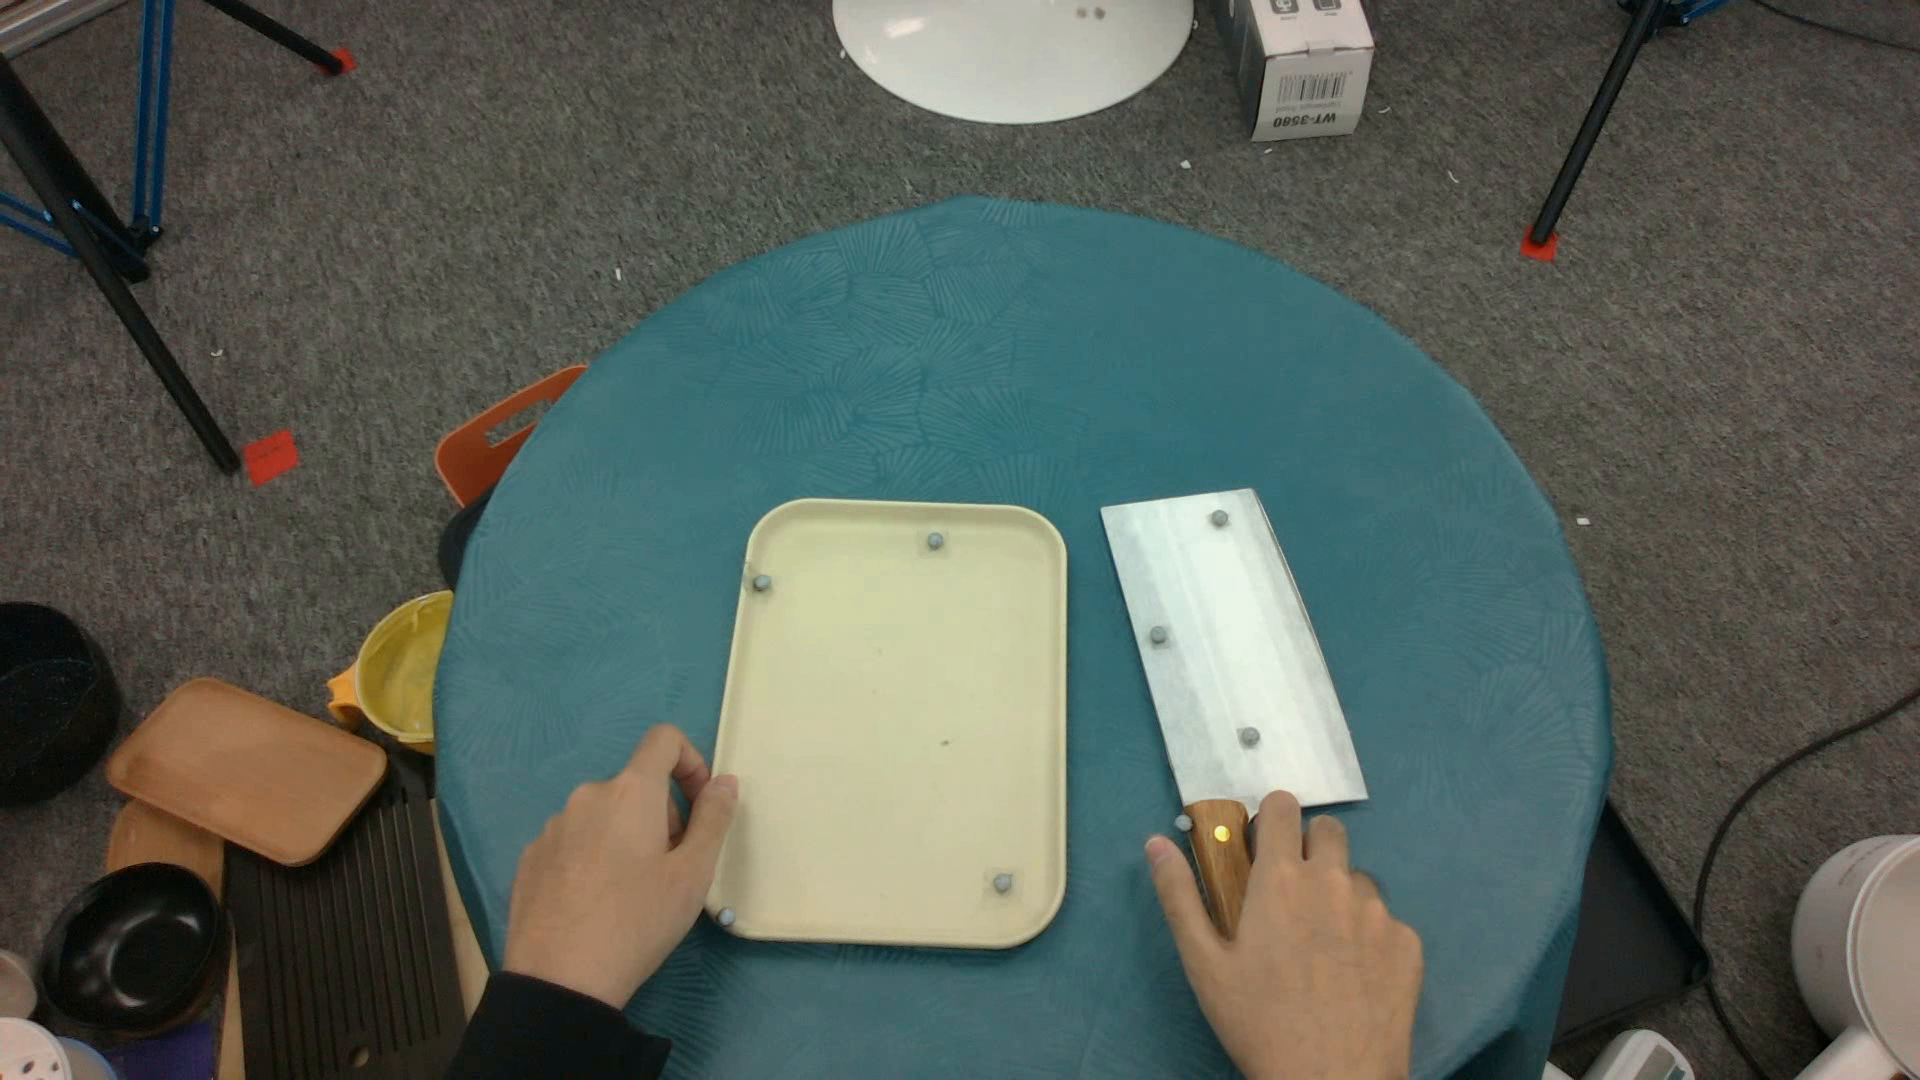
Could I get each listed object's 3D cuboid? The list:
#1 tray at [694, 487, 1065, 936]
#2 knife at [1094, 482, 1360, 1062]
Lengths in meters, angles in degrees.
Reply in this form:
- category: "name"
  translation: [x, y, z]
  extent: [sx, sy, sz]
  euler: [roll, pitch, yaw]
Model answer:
- category: "tray"
  translation: [-0.034, 0.077, 0.682]
  extent: [0.171, 0.017, 0.241]
  euler: [2, 57, 0]
- category: "knife"
  translation: [0.141, 0.093, 0.675]
  extent: [0.093, 0.021, 0.307]
  euler: [-7, 55, -7]
